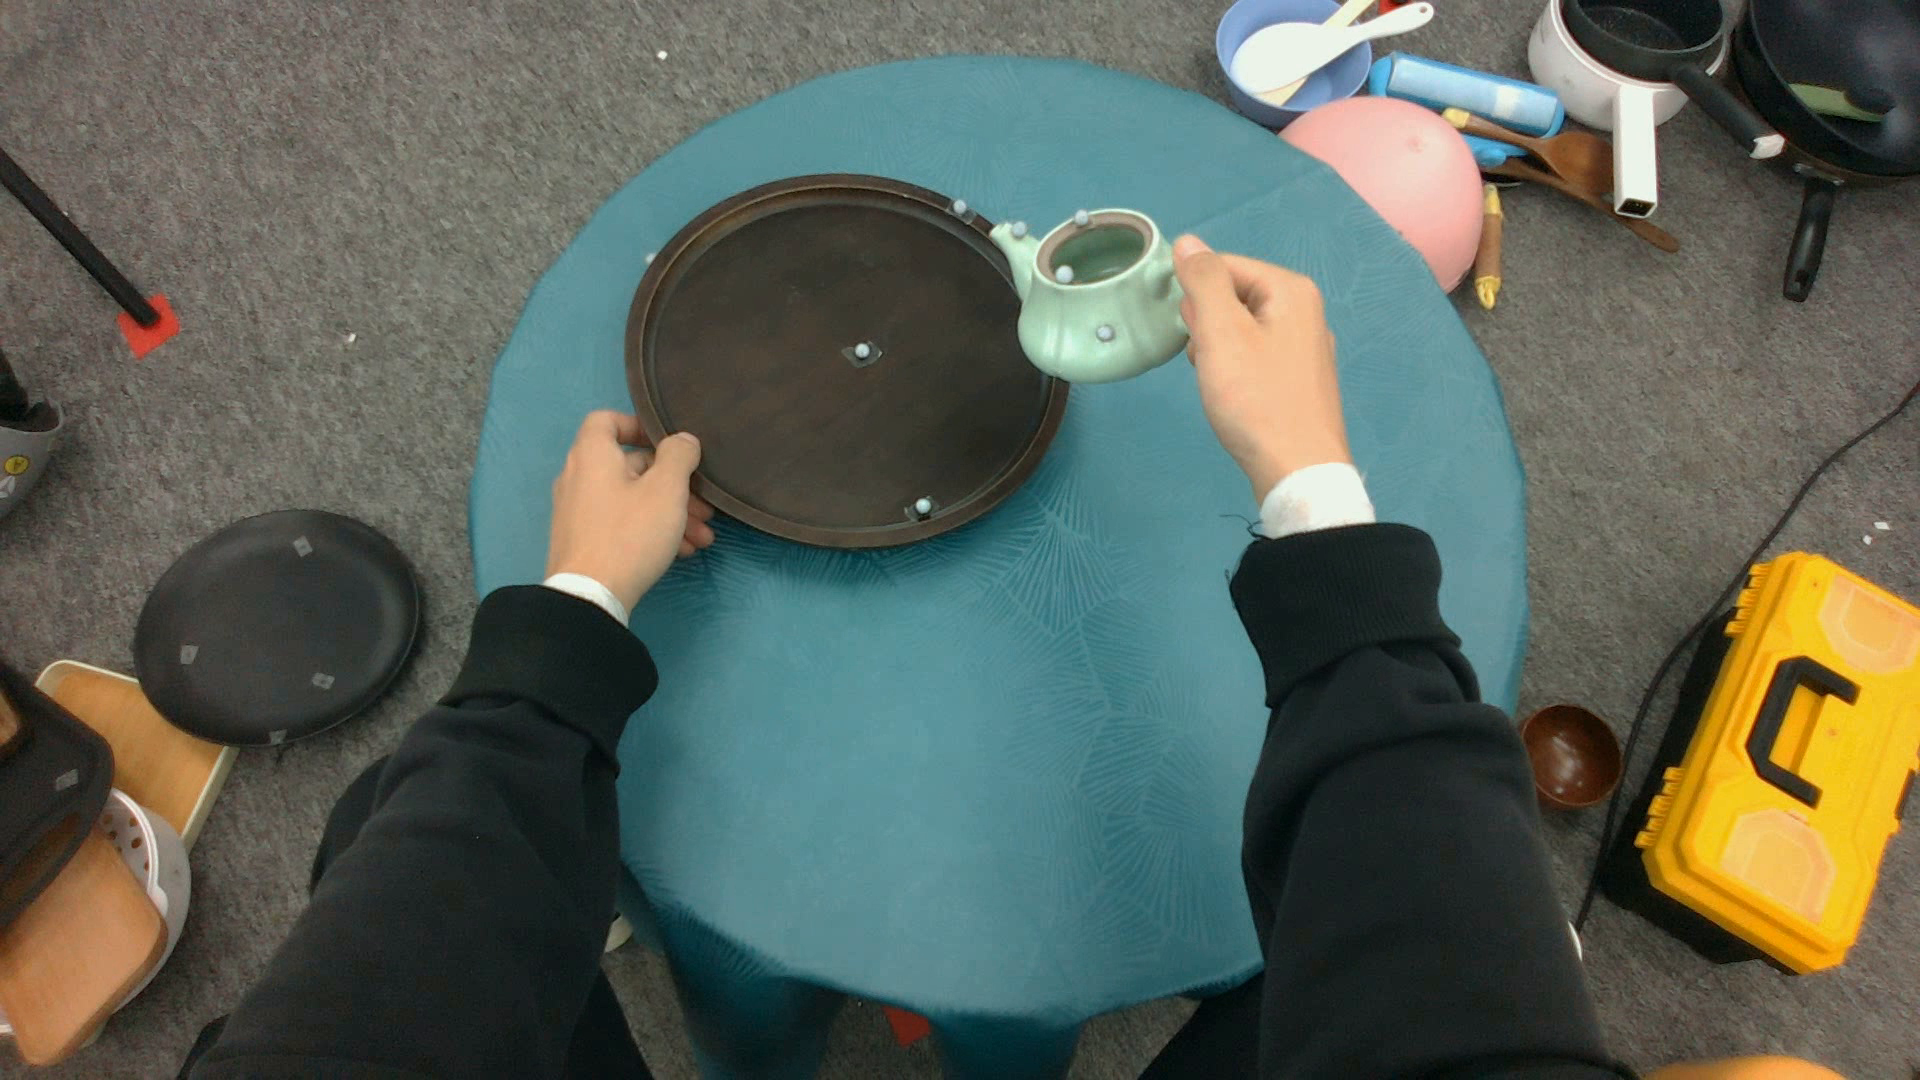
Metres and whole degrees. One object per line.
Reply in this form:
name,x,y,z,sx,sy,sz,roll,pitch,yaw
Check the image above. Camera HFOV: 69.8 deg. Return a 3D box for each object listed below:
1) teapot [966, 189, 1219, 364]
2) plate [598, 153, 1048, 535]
teapot,0.066,-0.131,0.674,0.137,0.061,0.096,19,57,34
plate,-0.075,-0.115,0.785,0.255,0.029,0.256,4,63,-7
